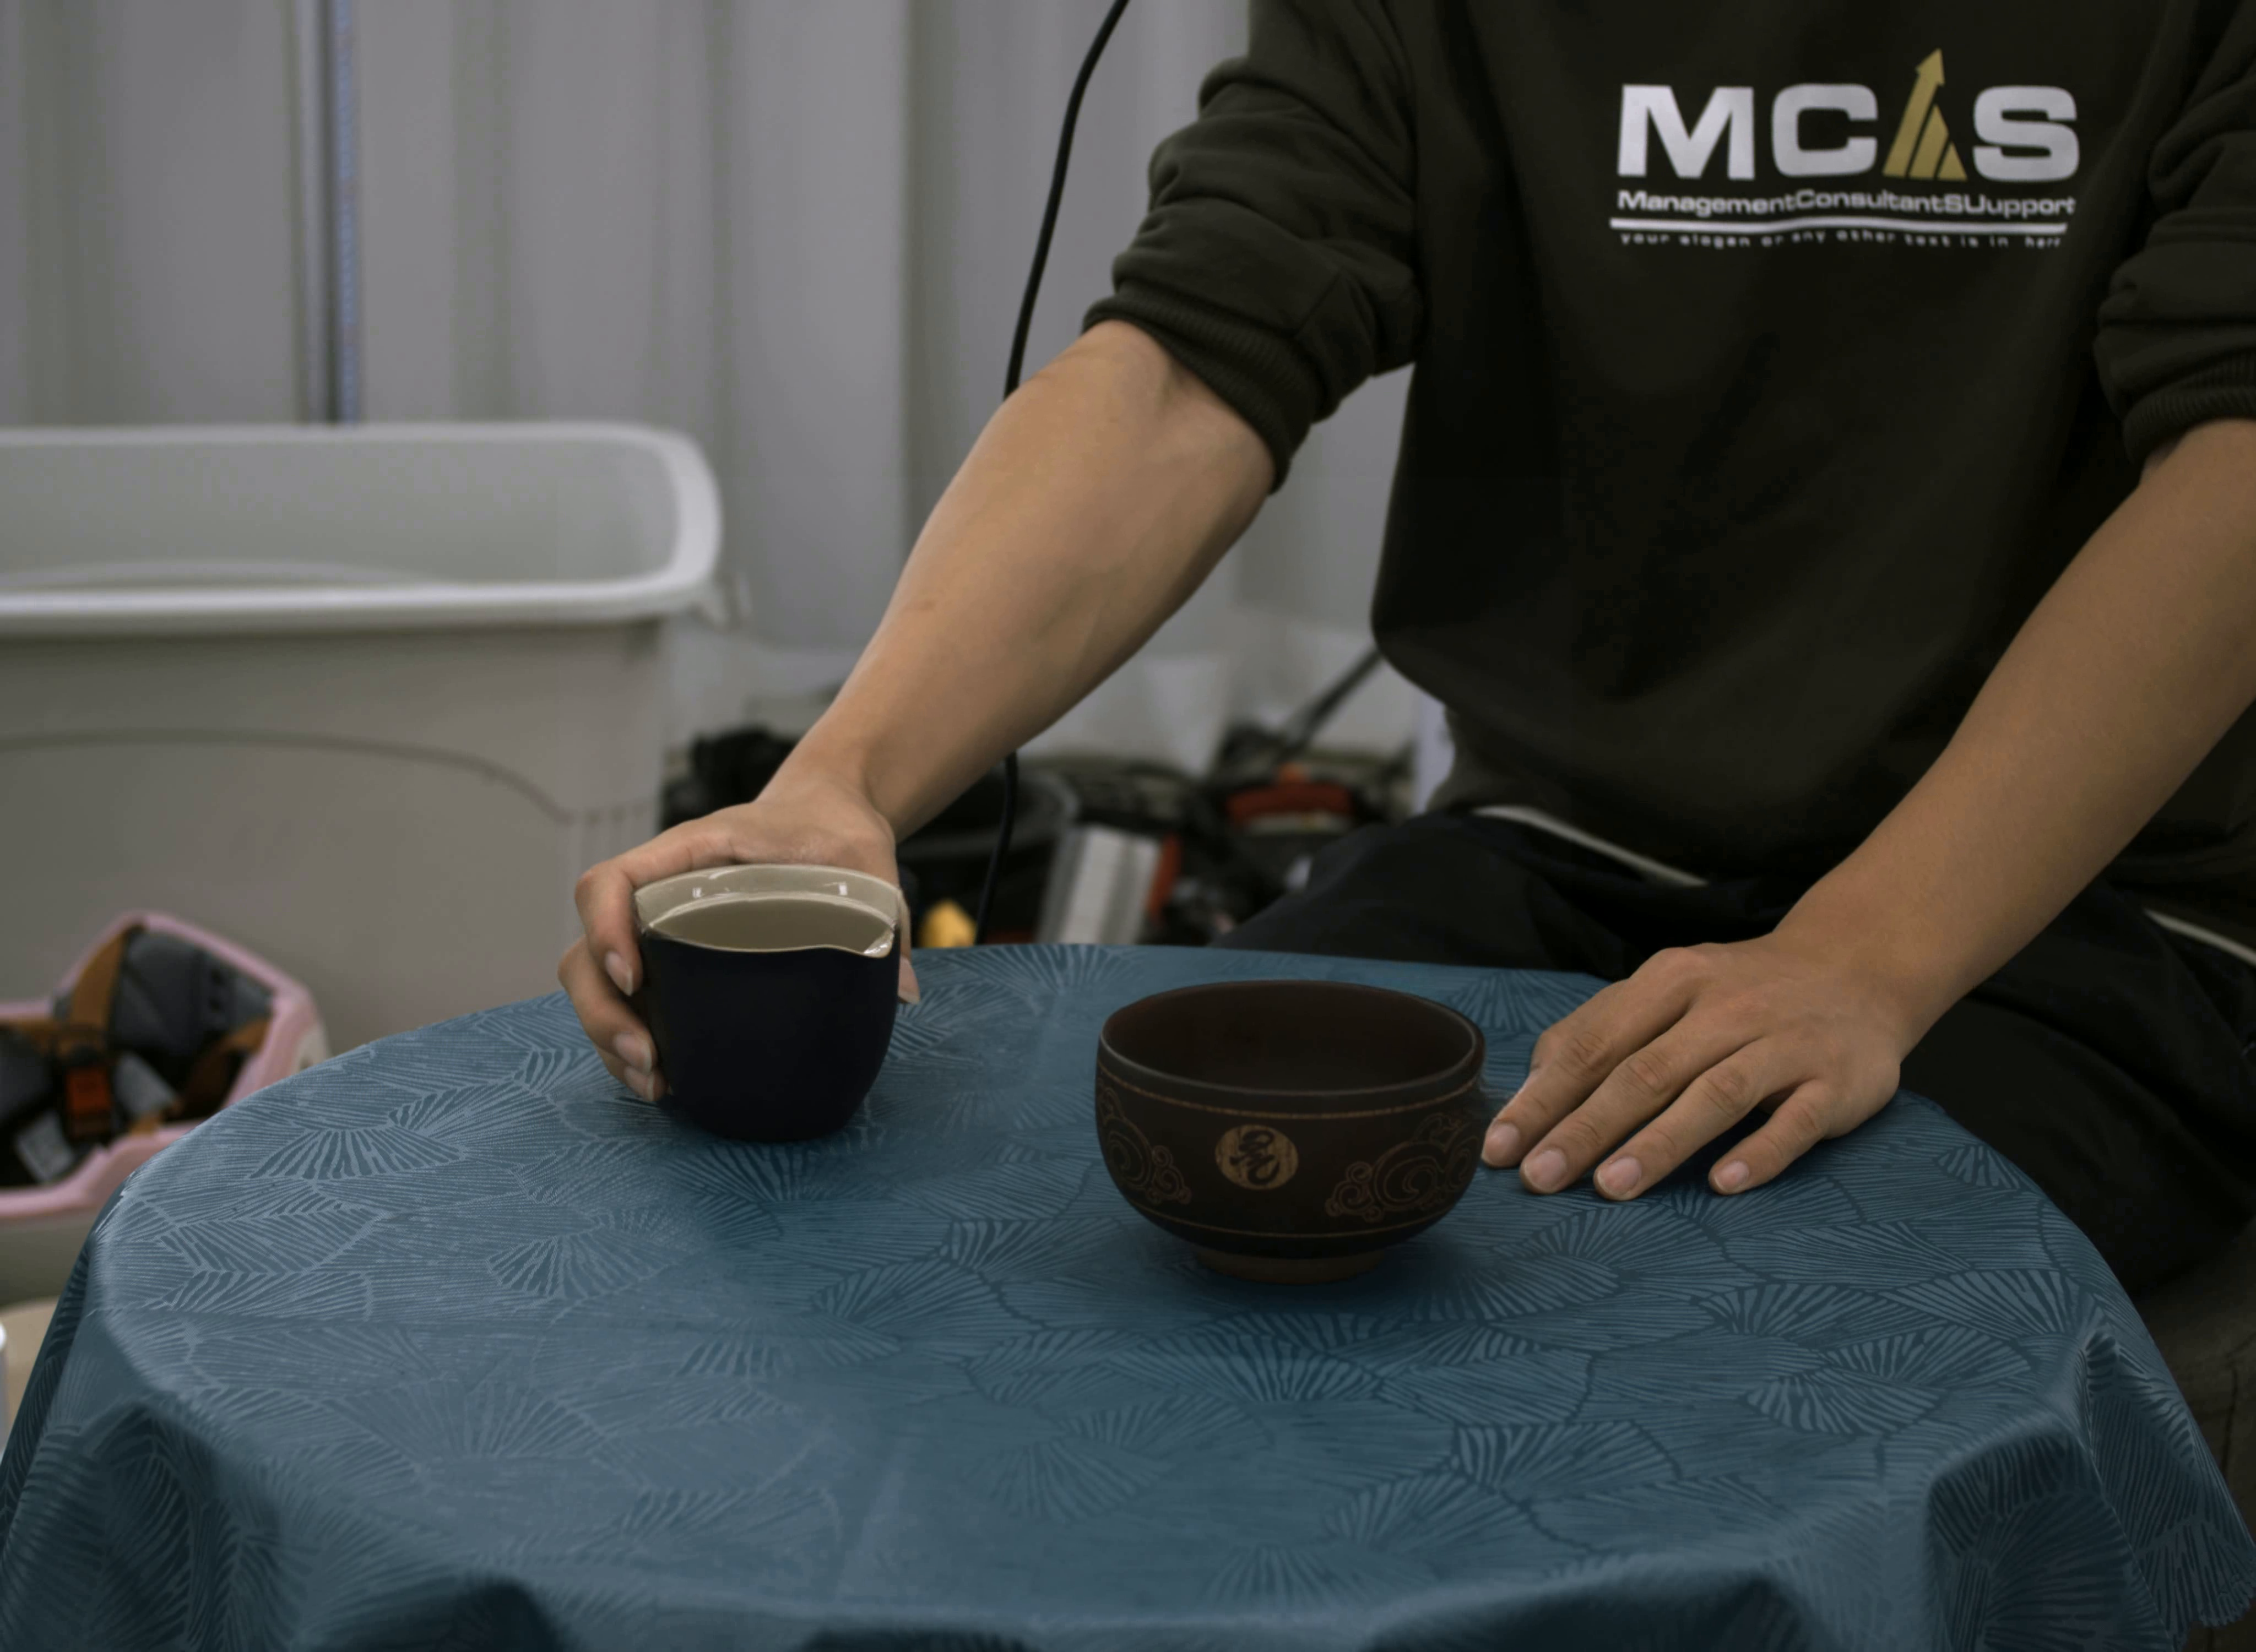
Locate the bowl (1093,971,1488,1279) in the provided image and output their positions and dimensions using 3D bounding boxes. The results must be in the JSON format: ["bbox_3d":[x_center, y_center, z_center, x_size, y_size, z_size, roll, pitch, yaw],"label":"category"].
[{"bbox_3d":[0.049,0.093,1.570,0.117,0.070,0.117,-1,17,1],"label":"bowl"}]

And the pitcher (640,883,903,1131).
[{"bbox_3d":[-0.111,0.057,1.679,0.084,0.072,0.094,-11,20,-36],"label":"pitcher"}]
